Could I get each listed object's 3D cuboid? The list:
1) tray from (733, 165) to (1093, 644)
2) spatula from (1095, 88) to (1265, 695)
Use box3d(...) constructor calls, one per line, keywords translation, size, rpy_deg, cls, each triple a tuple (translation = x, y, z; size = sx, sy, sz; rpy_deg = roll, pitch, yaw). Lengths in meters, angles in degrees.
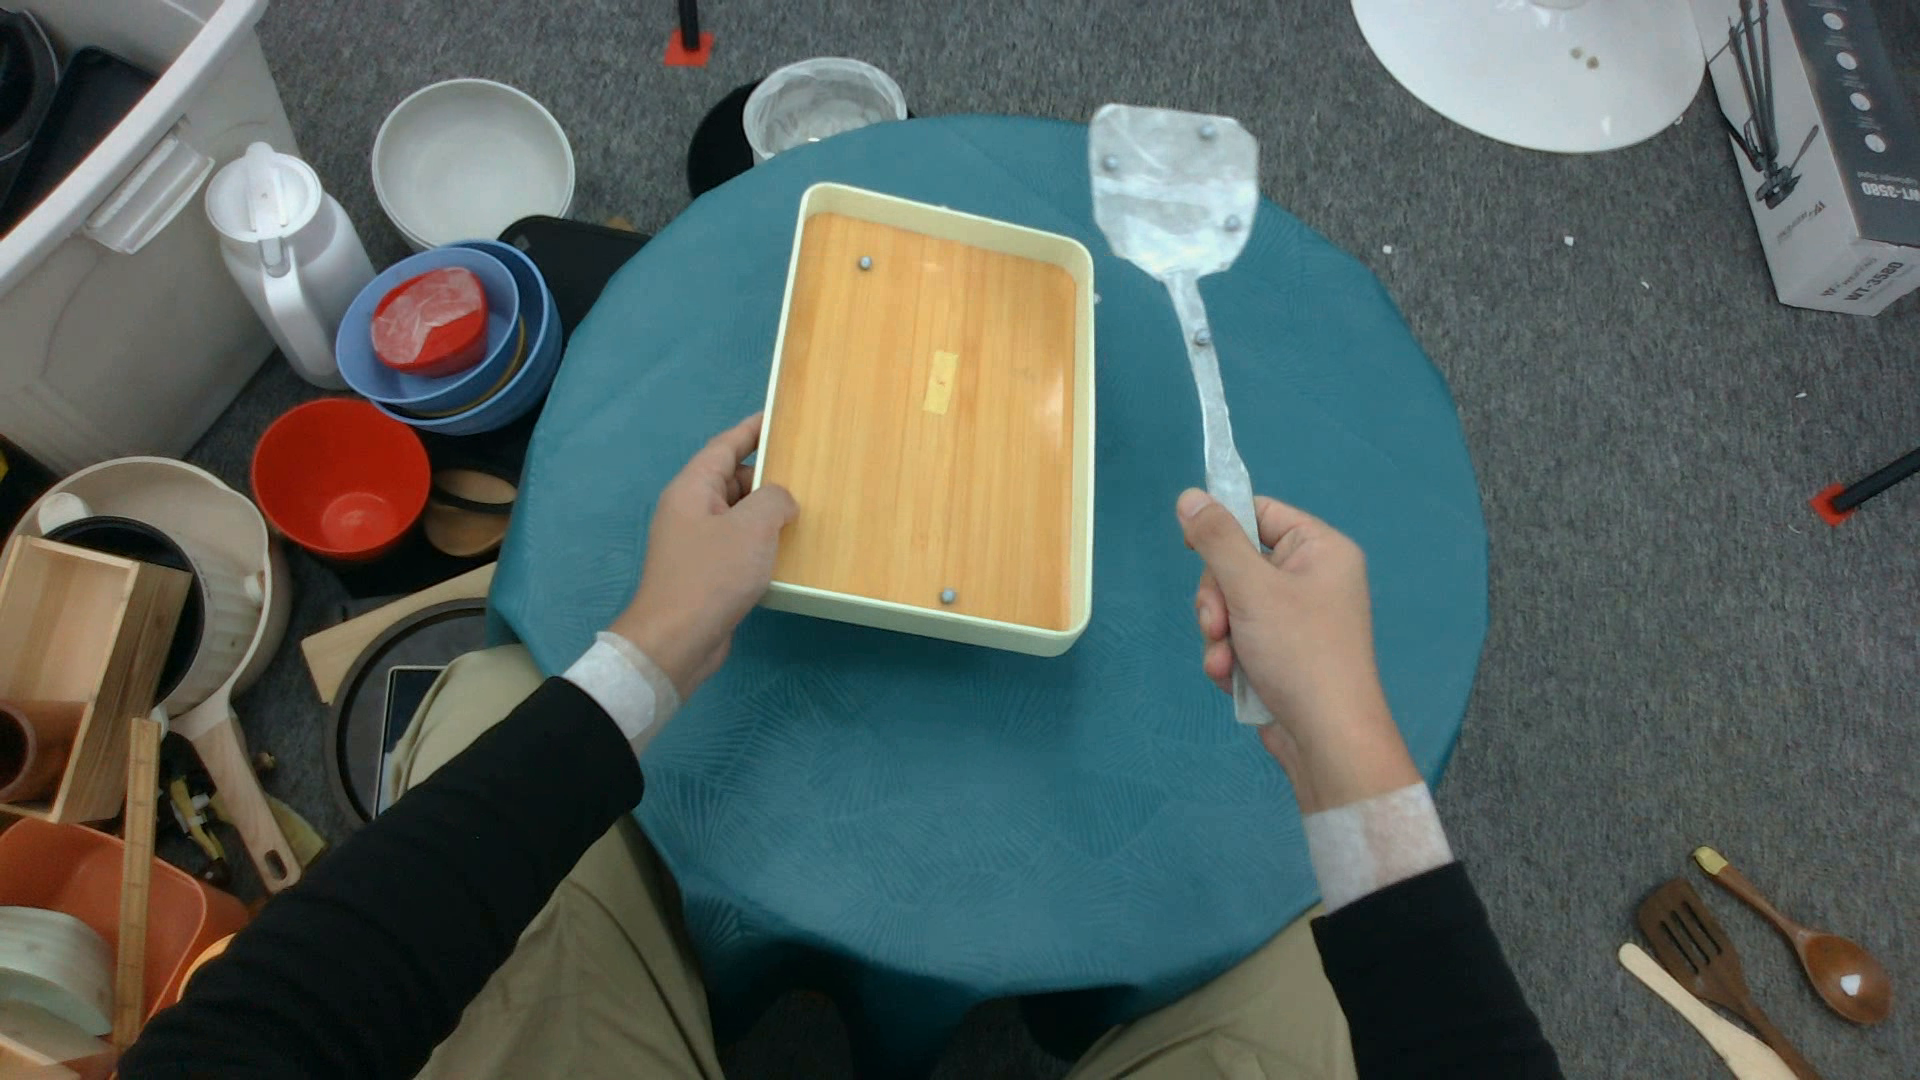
box3d(translation=(-0.017, -0.088, 0.802), size=(0.192, 0.027, 0.301), rpy_deg=(11, 56, -10), cls="tray")
box3d(translation=(0.124, -0.092, 0.692), size=(0.099, 0.044, 0.366), rpy_deg=(5, 54, -10), cls="spatula")
